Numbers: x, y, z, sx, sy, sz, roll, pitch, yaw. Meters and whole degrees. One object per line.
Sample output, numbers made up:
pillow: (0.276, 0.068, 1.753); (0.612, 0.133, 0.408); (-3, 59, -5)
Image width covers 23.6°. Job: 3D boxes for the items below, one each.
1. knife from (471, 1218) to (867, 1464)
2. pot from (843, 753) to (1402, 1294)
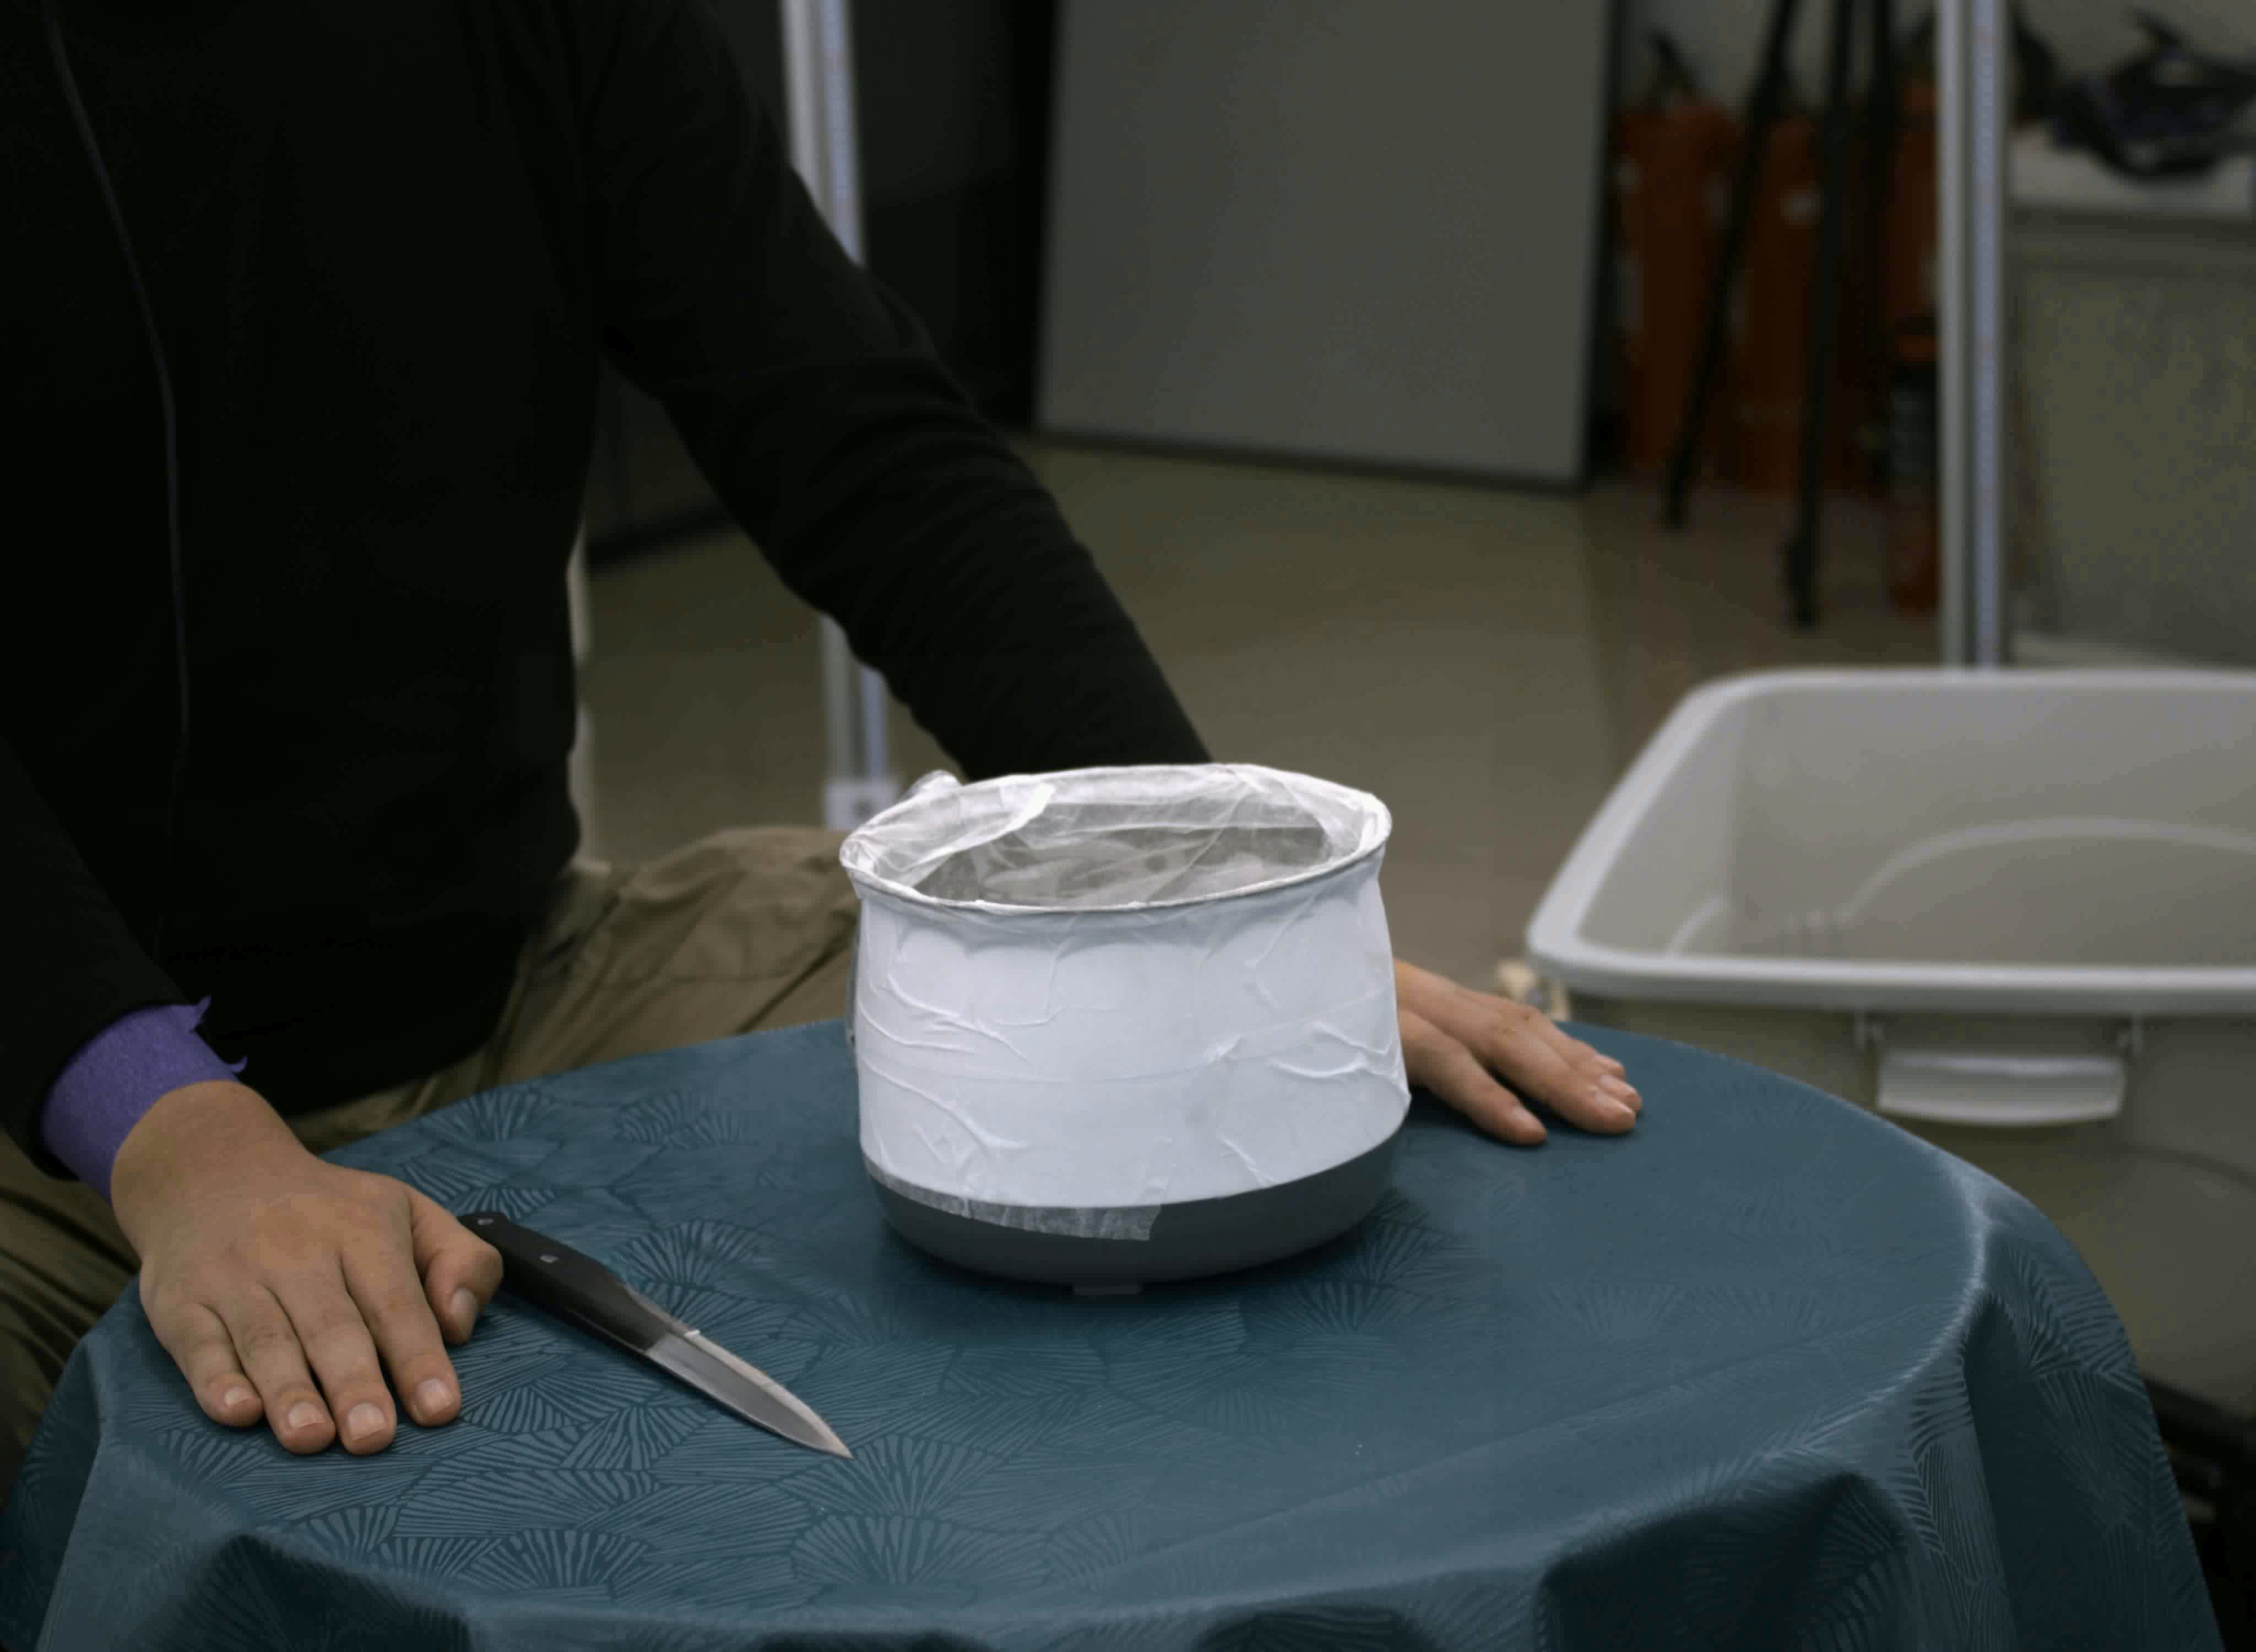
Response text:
knife: (-0.143, 0.158, 1.647); (0.024, 0.016, 0.241); (-11, 18, -31)
pot: (-0.017, 0.056, 1.745); (0.175, 0.138, 0.236); (-13, 17, -35)
